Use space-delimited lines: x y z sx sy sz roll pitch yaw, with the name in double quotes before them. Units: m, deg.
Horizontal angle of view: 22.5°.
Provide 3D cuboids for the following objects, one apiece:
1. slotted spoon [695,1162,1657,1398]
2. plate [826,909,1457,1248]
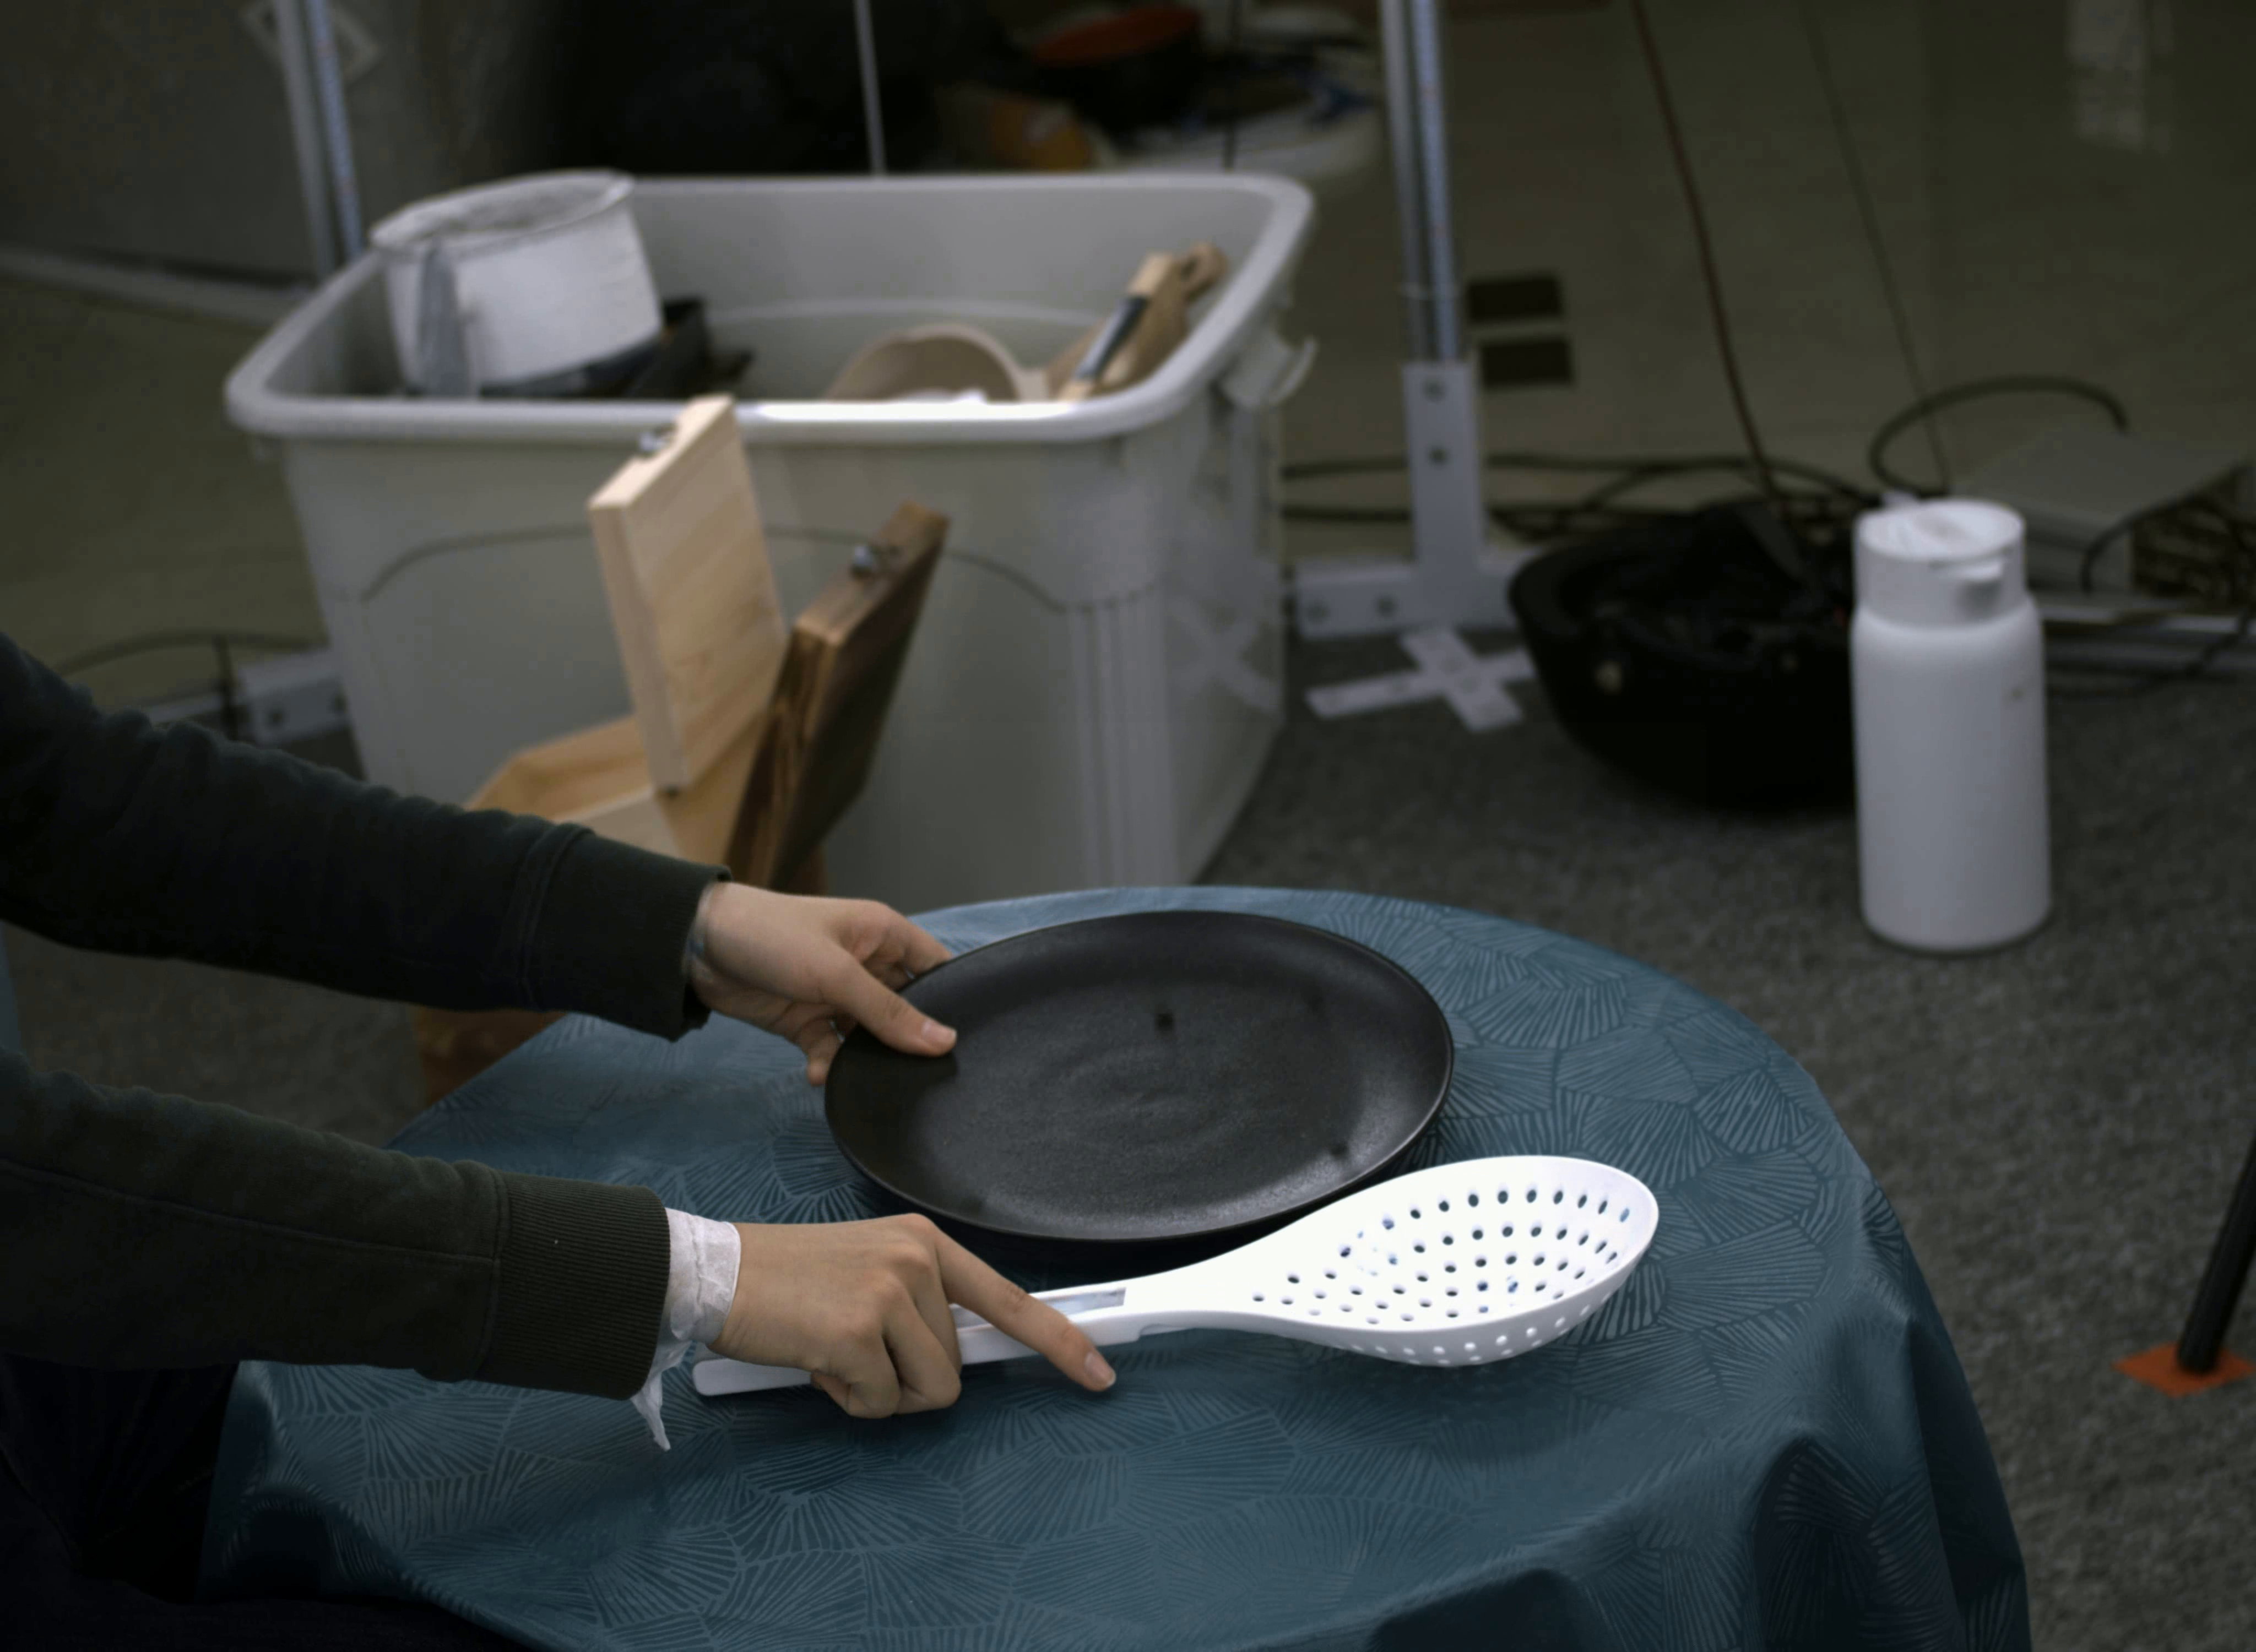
"slotted spoon" 0.016 0.170 2.027 0.349 0.046 0.134 -4 19 7
"plate" 0.006 0.102 2.186 0.244 0.024 0.240 -4 30 2
